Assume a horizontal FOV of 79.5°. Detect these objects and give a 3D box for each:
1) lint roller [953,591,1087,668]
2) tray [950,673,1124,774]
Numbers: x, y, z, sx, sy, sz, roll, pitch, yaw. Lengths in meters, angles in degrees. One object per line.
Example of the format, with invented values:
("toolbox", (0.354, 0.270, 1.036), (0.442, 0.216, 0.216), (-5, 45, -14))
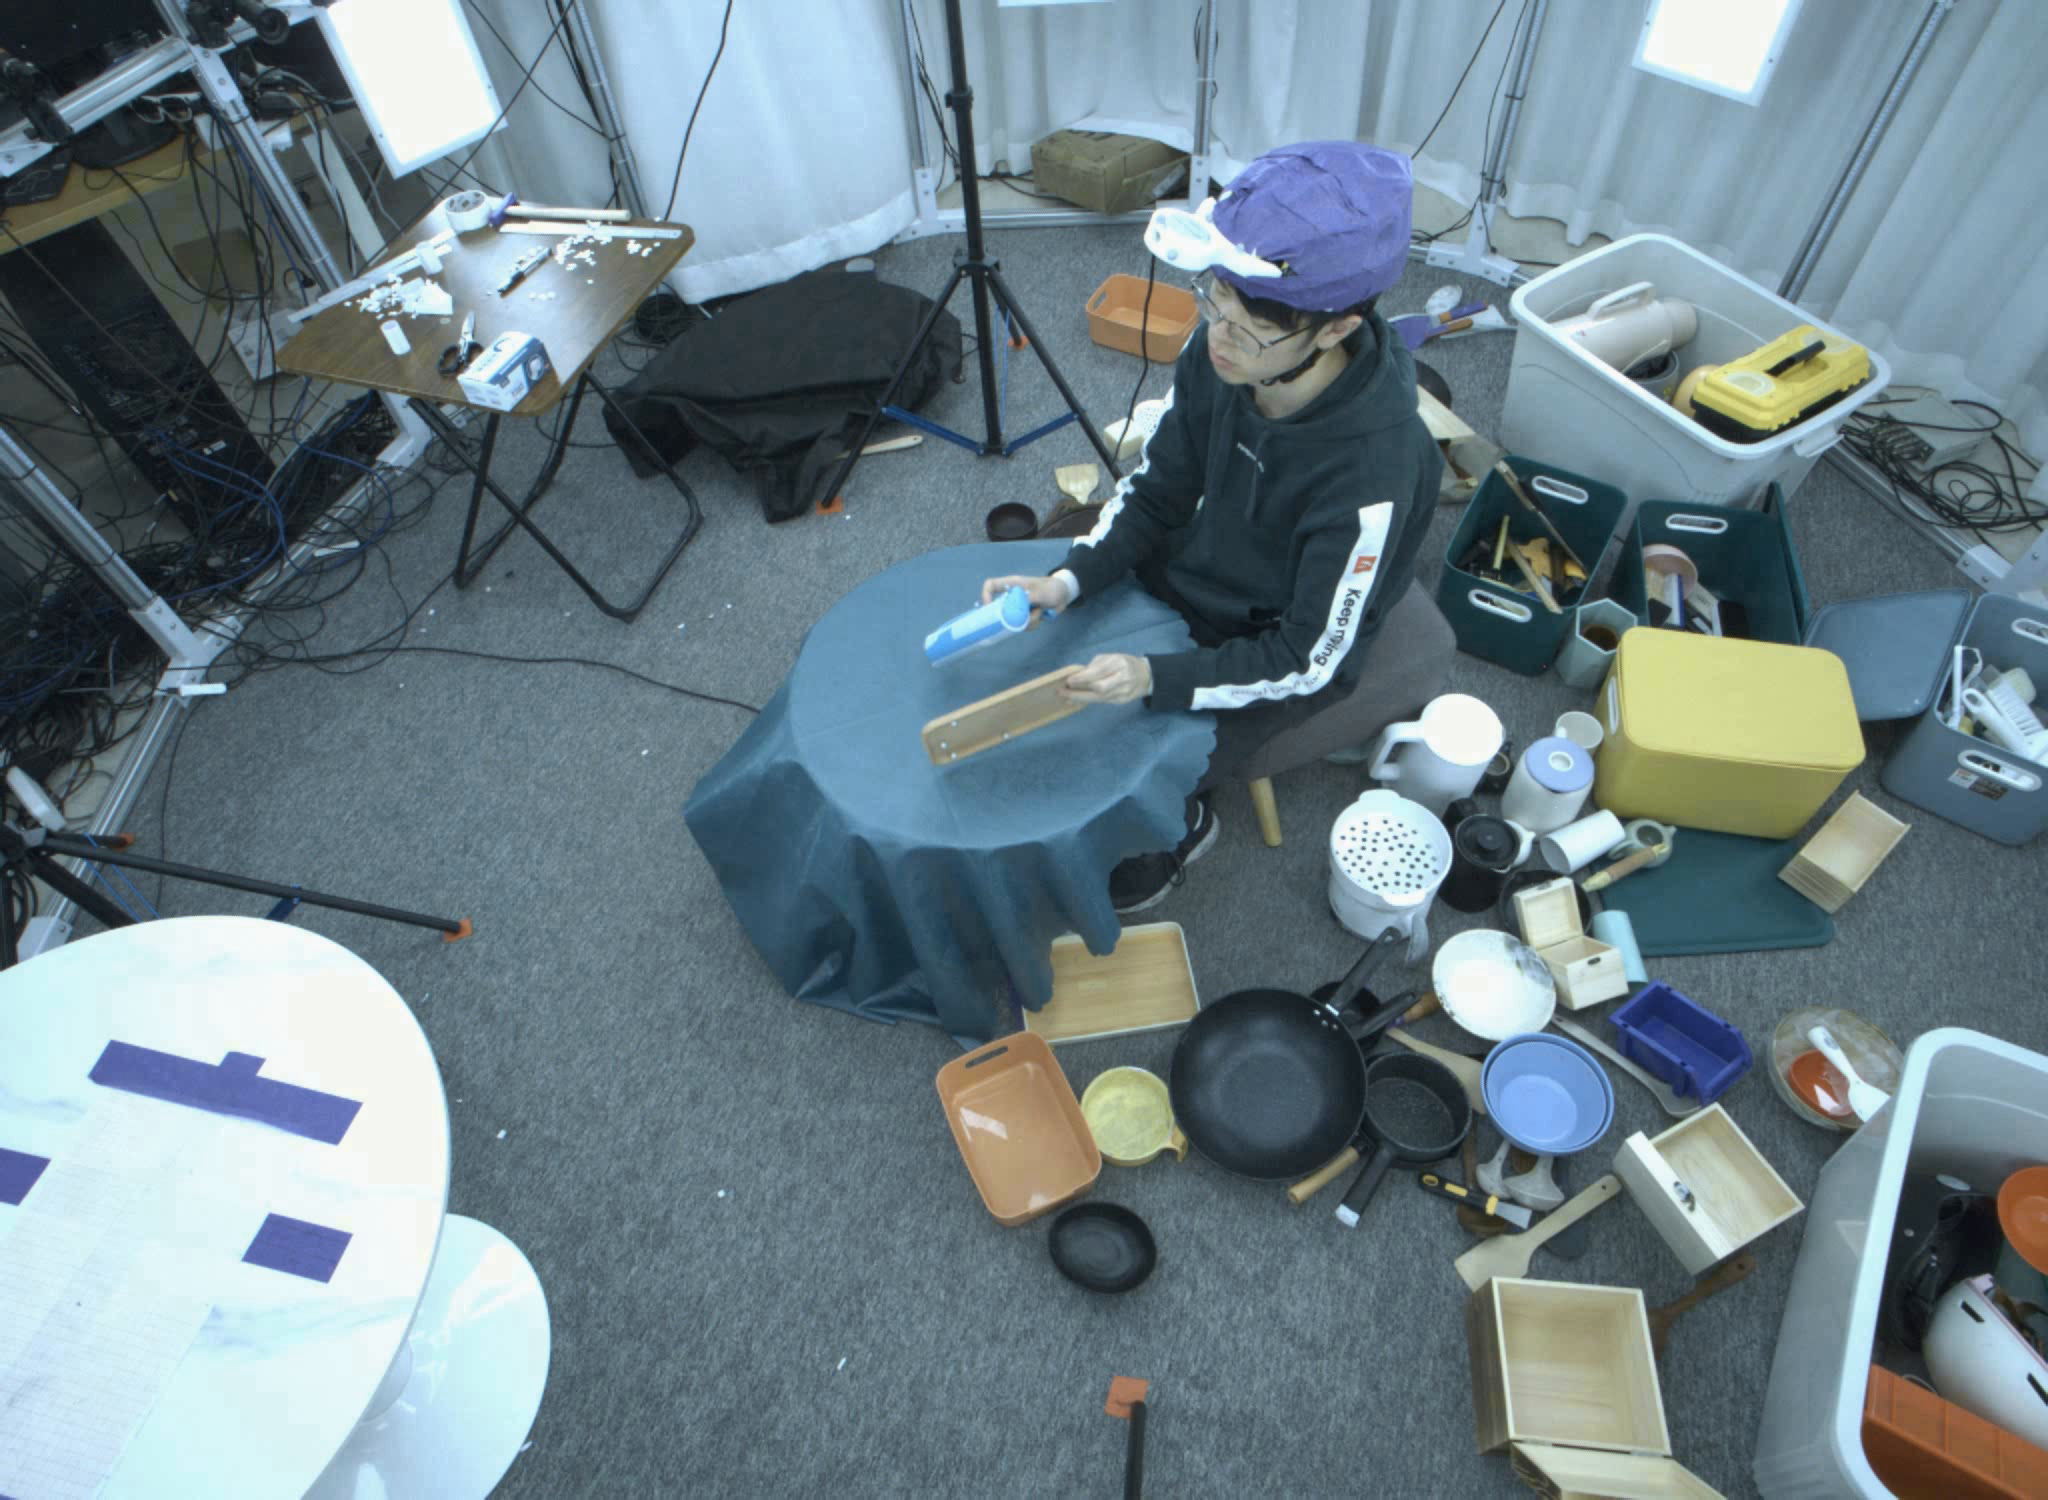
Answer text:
("lint roller", (0.014, -0.184, 1.781), (0.183, 0.225, 0.068), (-26, 95, -40))
("tray", (0.019, -0.037, 1.705), (0.252, 0.132, 0.022), (-21, 66, -7))
